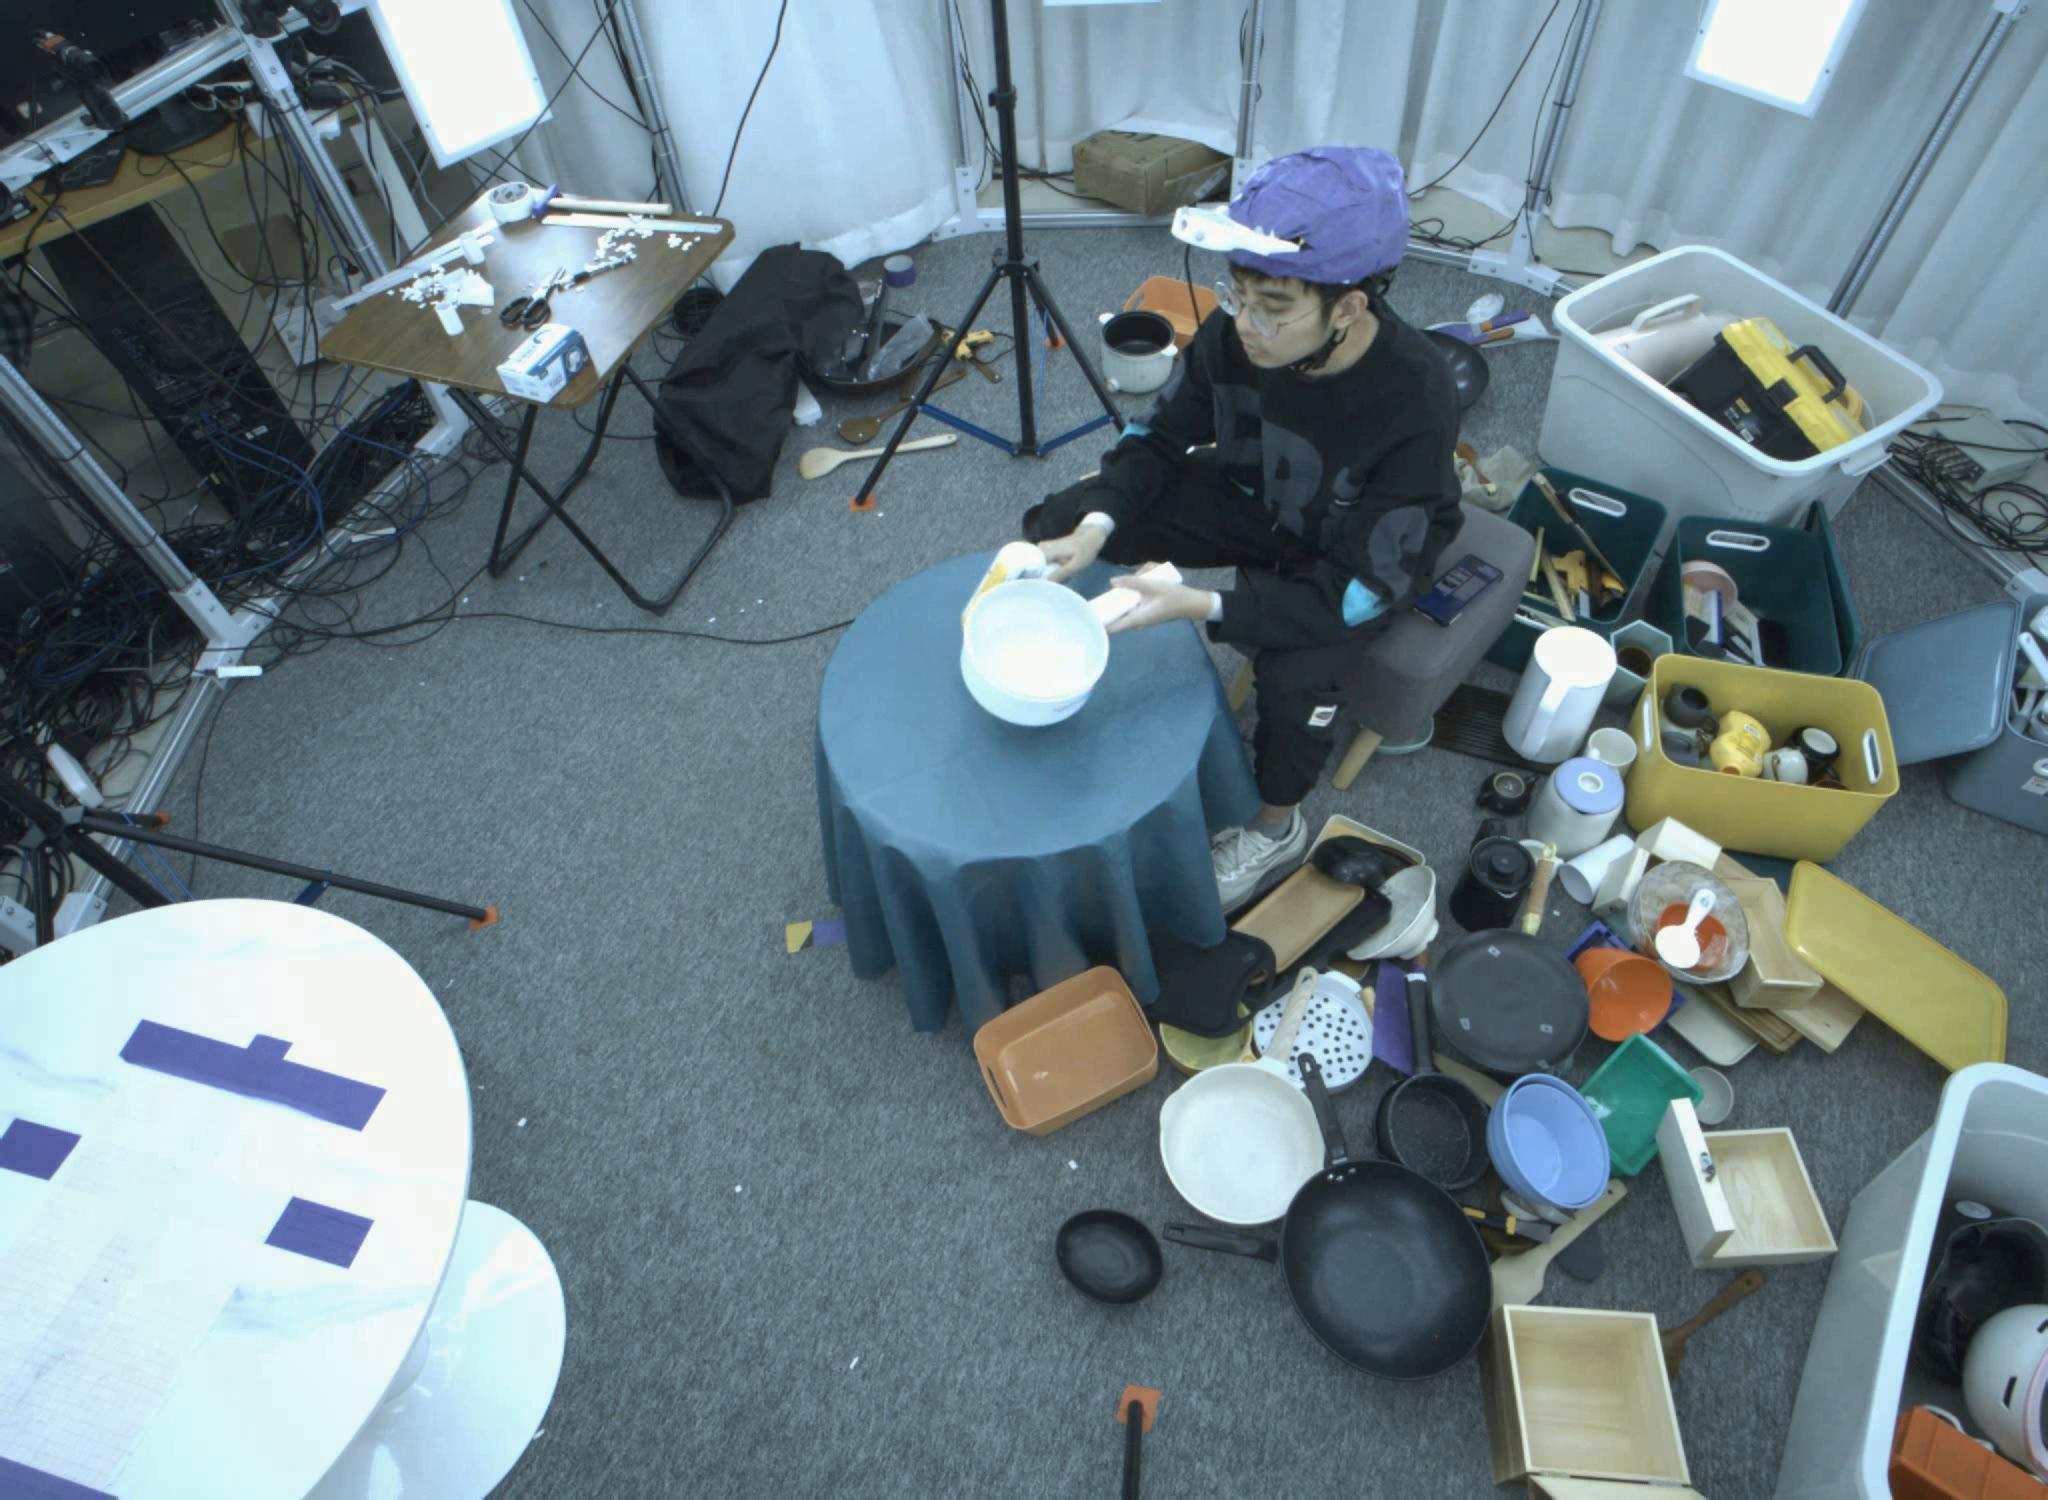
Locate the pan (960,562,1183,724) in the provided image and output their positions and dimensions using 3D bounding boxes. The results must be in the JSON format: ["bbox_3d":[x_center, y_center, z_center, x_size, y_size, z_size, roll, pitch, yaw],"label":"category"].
[{"bbox_3d":[0.071,-0.168,1.757,0.358,0.102,0.199,-29,73,-25],"label":"pan"}]

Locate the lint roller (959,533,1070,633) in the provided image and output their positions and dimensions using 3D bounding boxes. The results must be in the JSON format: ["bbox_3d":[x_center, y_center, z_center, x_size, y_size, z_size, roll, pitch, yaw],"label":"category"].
[{"bbox_3d":[0.005,-0.252,1.822,0.196,0.192,0.073,-15,60,-42],"label":"lint roller"}]
